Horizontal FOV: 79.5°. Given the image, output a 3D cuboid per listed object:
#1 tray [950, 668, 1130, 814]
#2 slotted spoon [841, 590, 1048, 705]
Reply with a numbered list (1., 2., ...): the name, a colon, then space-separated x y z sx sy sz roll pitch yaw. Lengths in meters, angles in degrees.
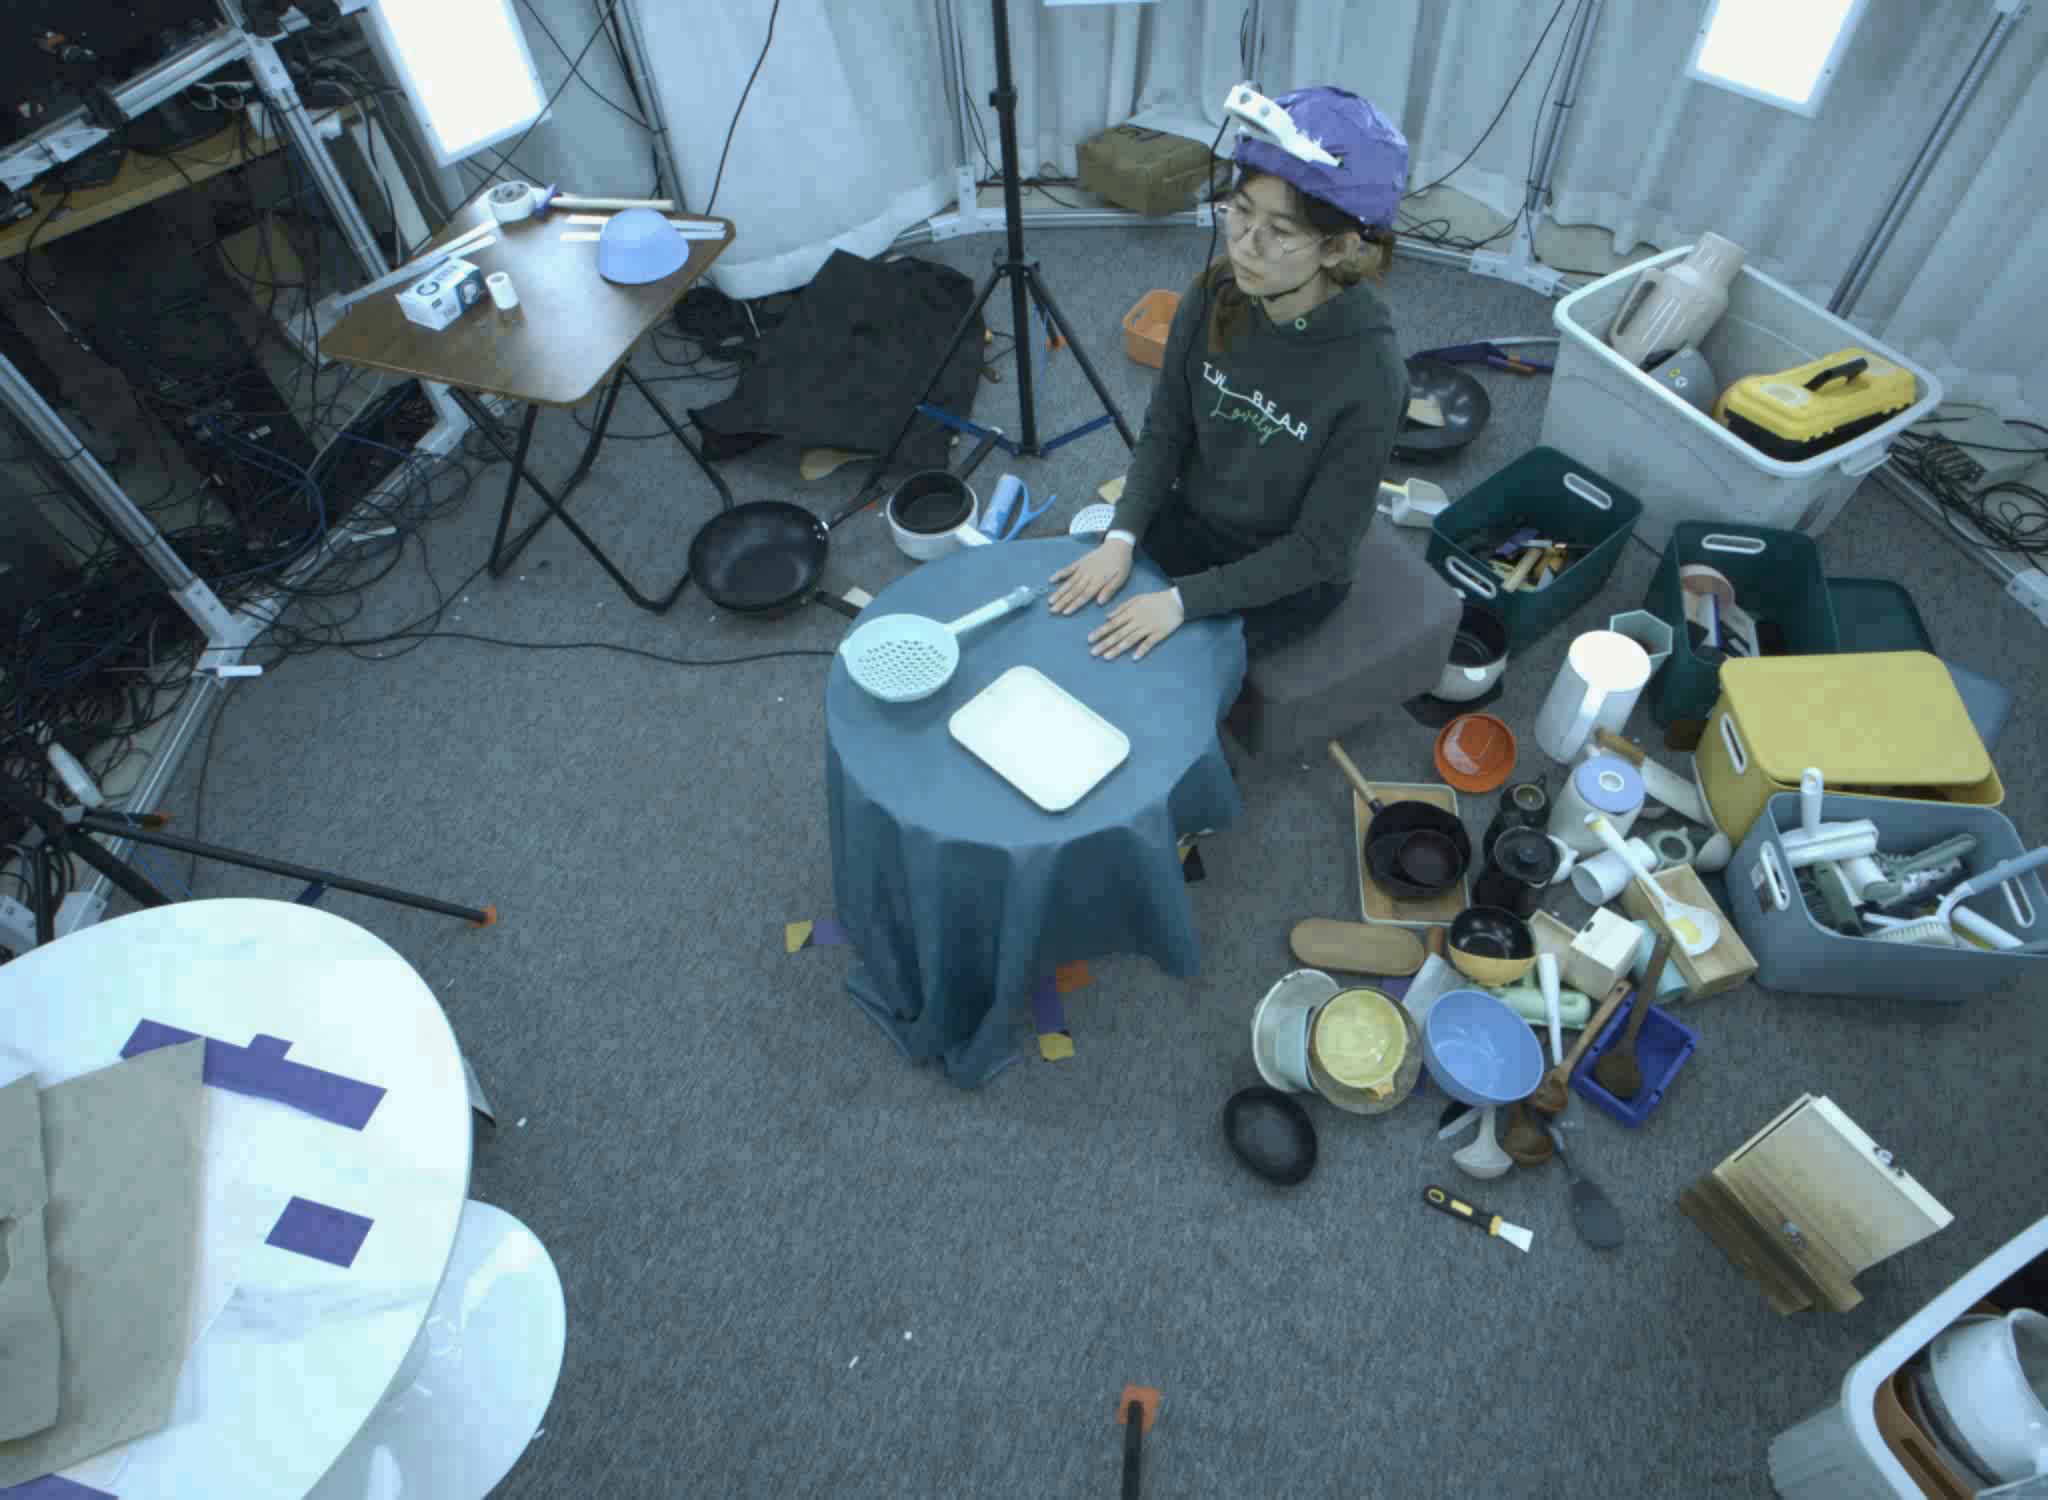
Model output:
1. tray: 0.023 -0.015 1.798 0.235 0.017 0.172 38 64 24
2. slotted spoon: -0.106 -0.176 1.886 0.361 0.076 0.166 -35 61 -21
